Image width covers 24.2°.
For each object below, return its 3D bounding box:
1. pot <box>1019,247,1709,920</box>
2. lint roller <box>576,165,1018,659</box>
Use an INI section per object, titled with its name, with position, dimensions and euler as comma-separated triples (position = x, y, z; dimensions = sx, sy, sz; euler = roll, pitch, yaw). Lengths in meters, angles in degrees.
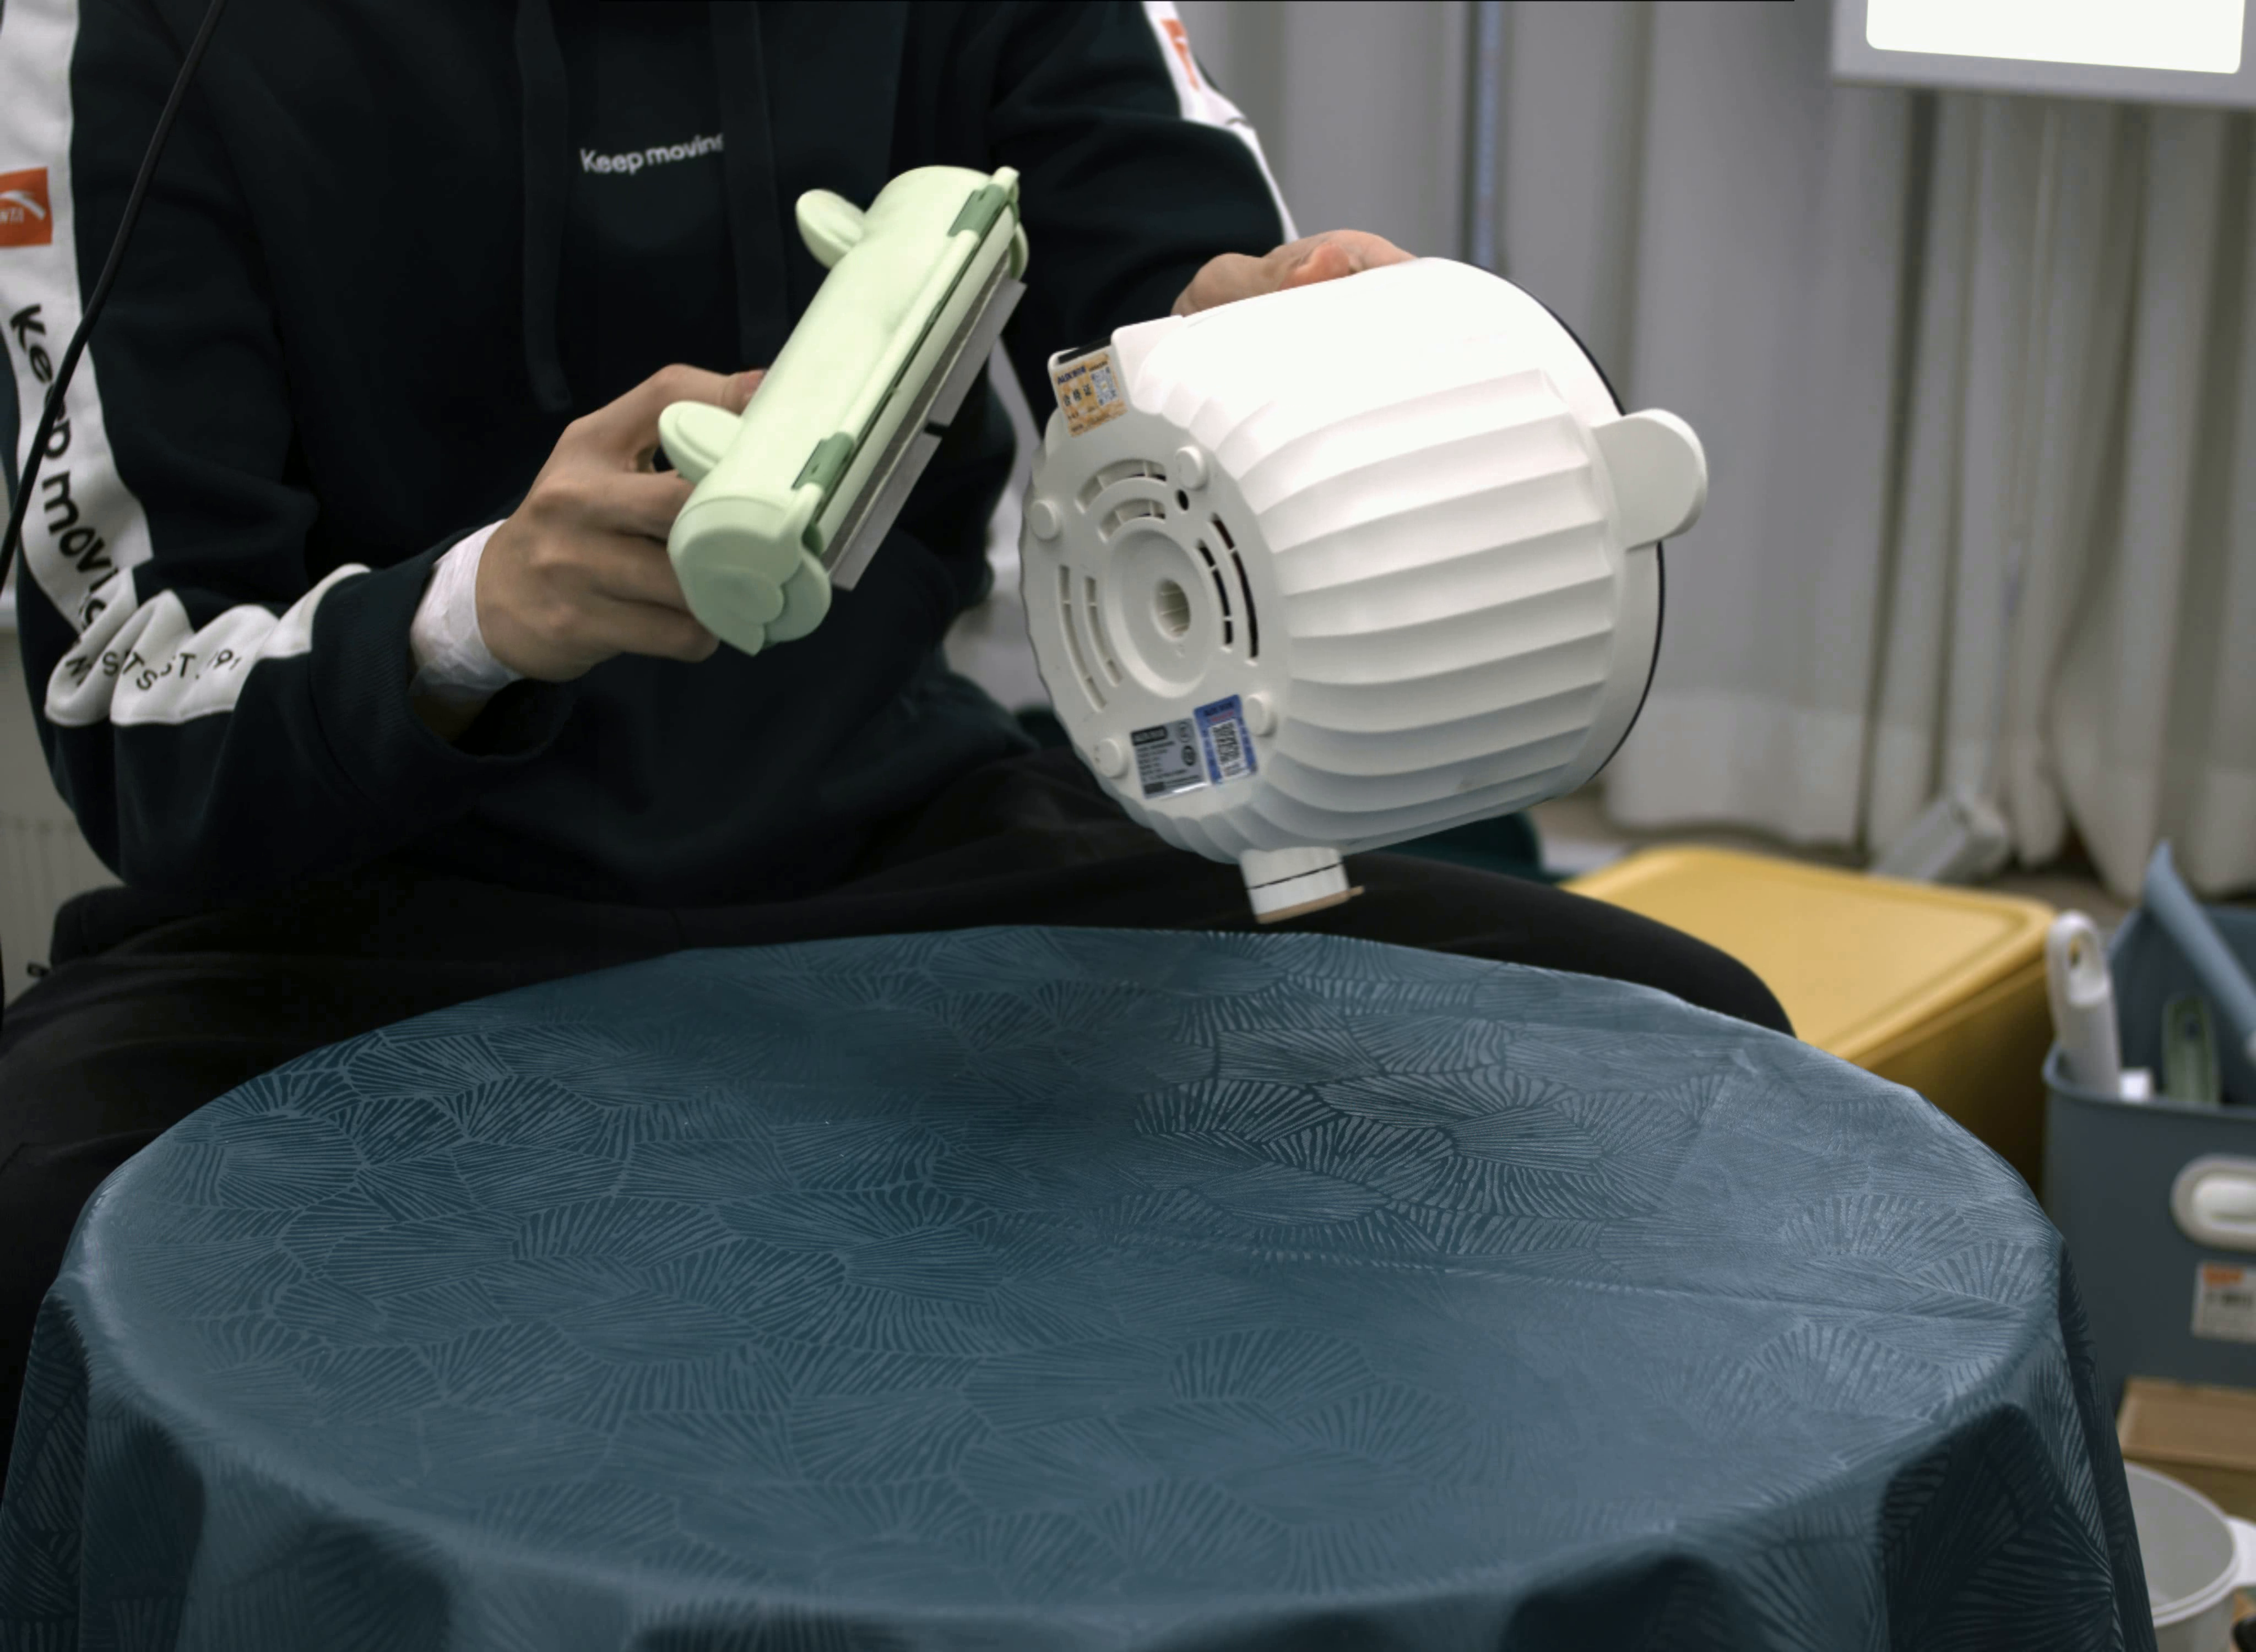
[pot]
position = 0.059, -0.076, 1.658
dimensions = 0.143, 0.191, 0.238
euler = -20, 3, -36
[lint roller]
position = -0.131, -0.122, 1.678
dimensions = 0.182, 0.083, 0.198
euler = -22, 29, 38
